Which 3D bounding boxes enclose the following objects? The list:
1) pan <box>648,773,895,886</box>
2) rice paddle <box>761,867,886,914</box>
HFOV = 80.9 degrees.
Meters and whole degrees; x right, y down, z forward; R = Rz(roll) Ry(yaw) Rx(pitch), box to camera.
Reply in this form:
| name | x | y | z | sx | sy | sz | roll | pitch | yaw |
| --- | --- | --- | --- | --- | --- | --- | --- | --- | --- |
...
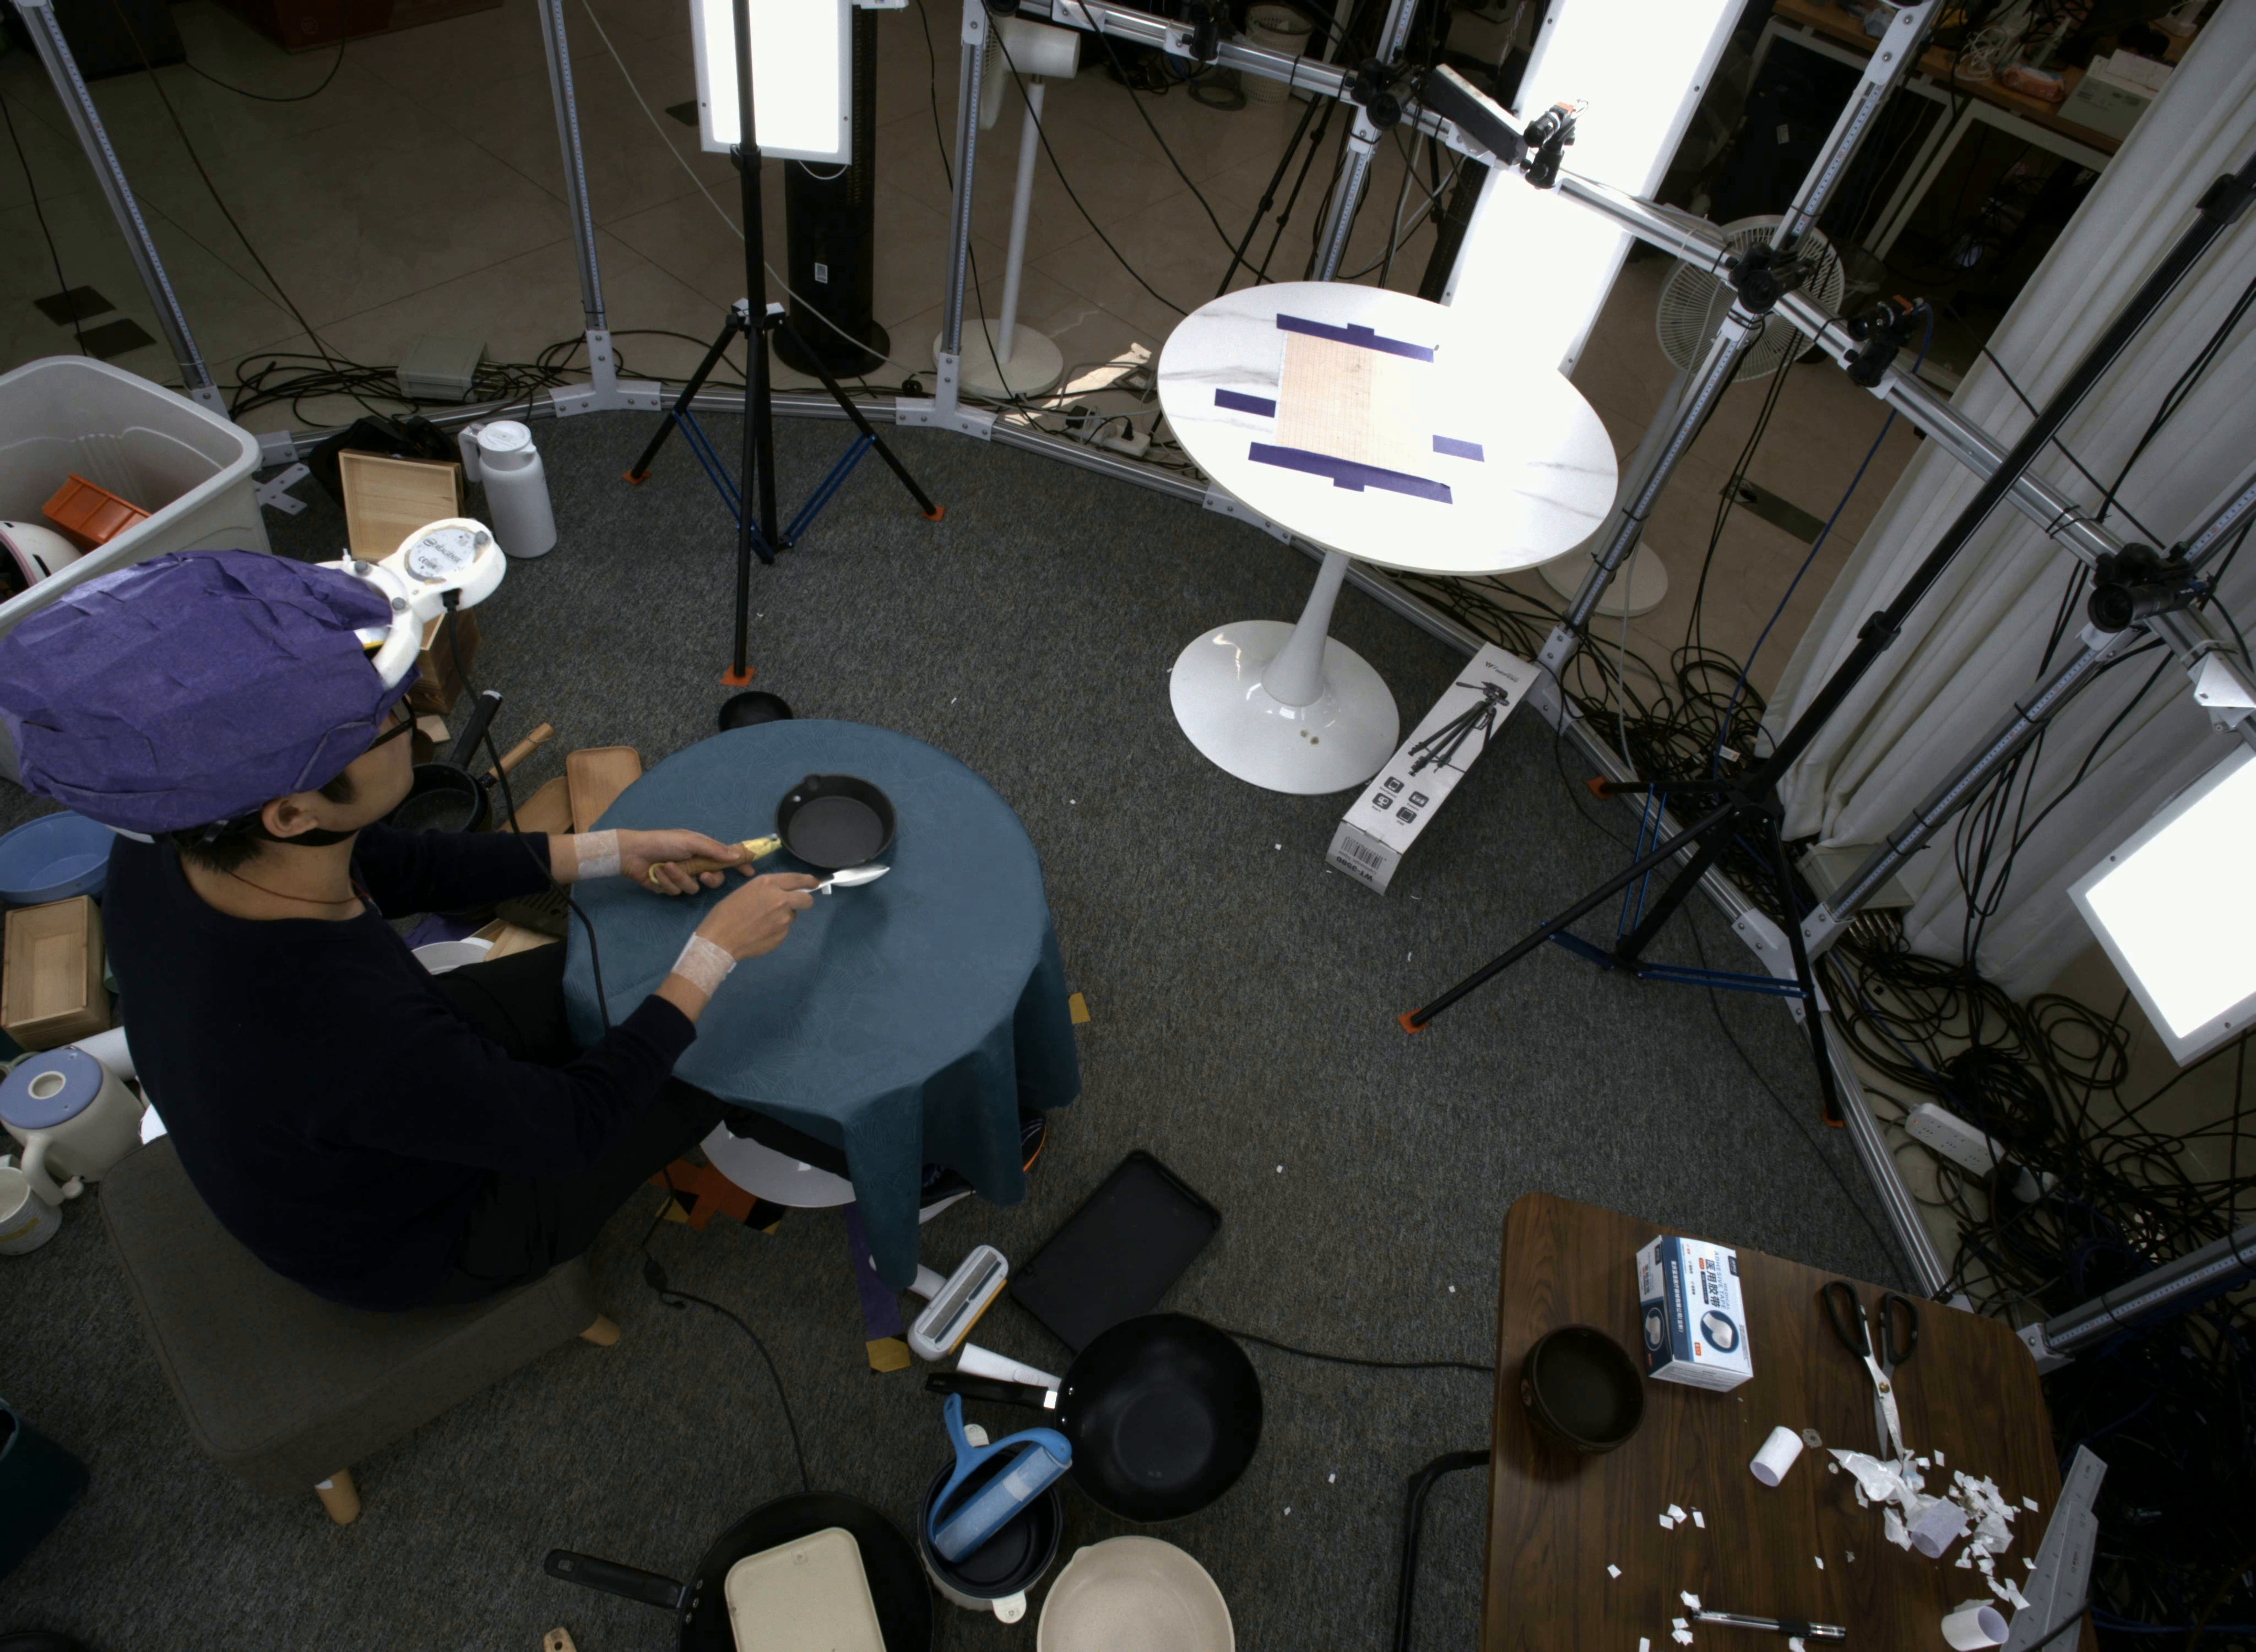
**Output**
| name | x | y | z | sx | sy | sz | roll | pitch | yaw |
| --- | --- | --- | --- | --- | --- | --- | --- | --- | --- |
| pan | -0.454 | 0.020 | 1.655 | 0.326 | 0.050 | 0.165 | -19 | 60 | -29 |
| rice paddle | -0.365 | 0.067 | 1.566 | 0.067 | 0.030 | 0.207 | -2 | 9 | 25 |
